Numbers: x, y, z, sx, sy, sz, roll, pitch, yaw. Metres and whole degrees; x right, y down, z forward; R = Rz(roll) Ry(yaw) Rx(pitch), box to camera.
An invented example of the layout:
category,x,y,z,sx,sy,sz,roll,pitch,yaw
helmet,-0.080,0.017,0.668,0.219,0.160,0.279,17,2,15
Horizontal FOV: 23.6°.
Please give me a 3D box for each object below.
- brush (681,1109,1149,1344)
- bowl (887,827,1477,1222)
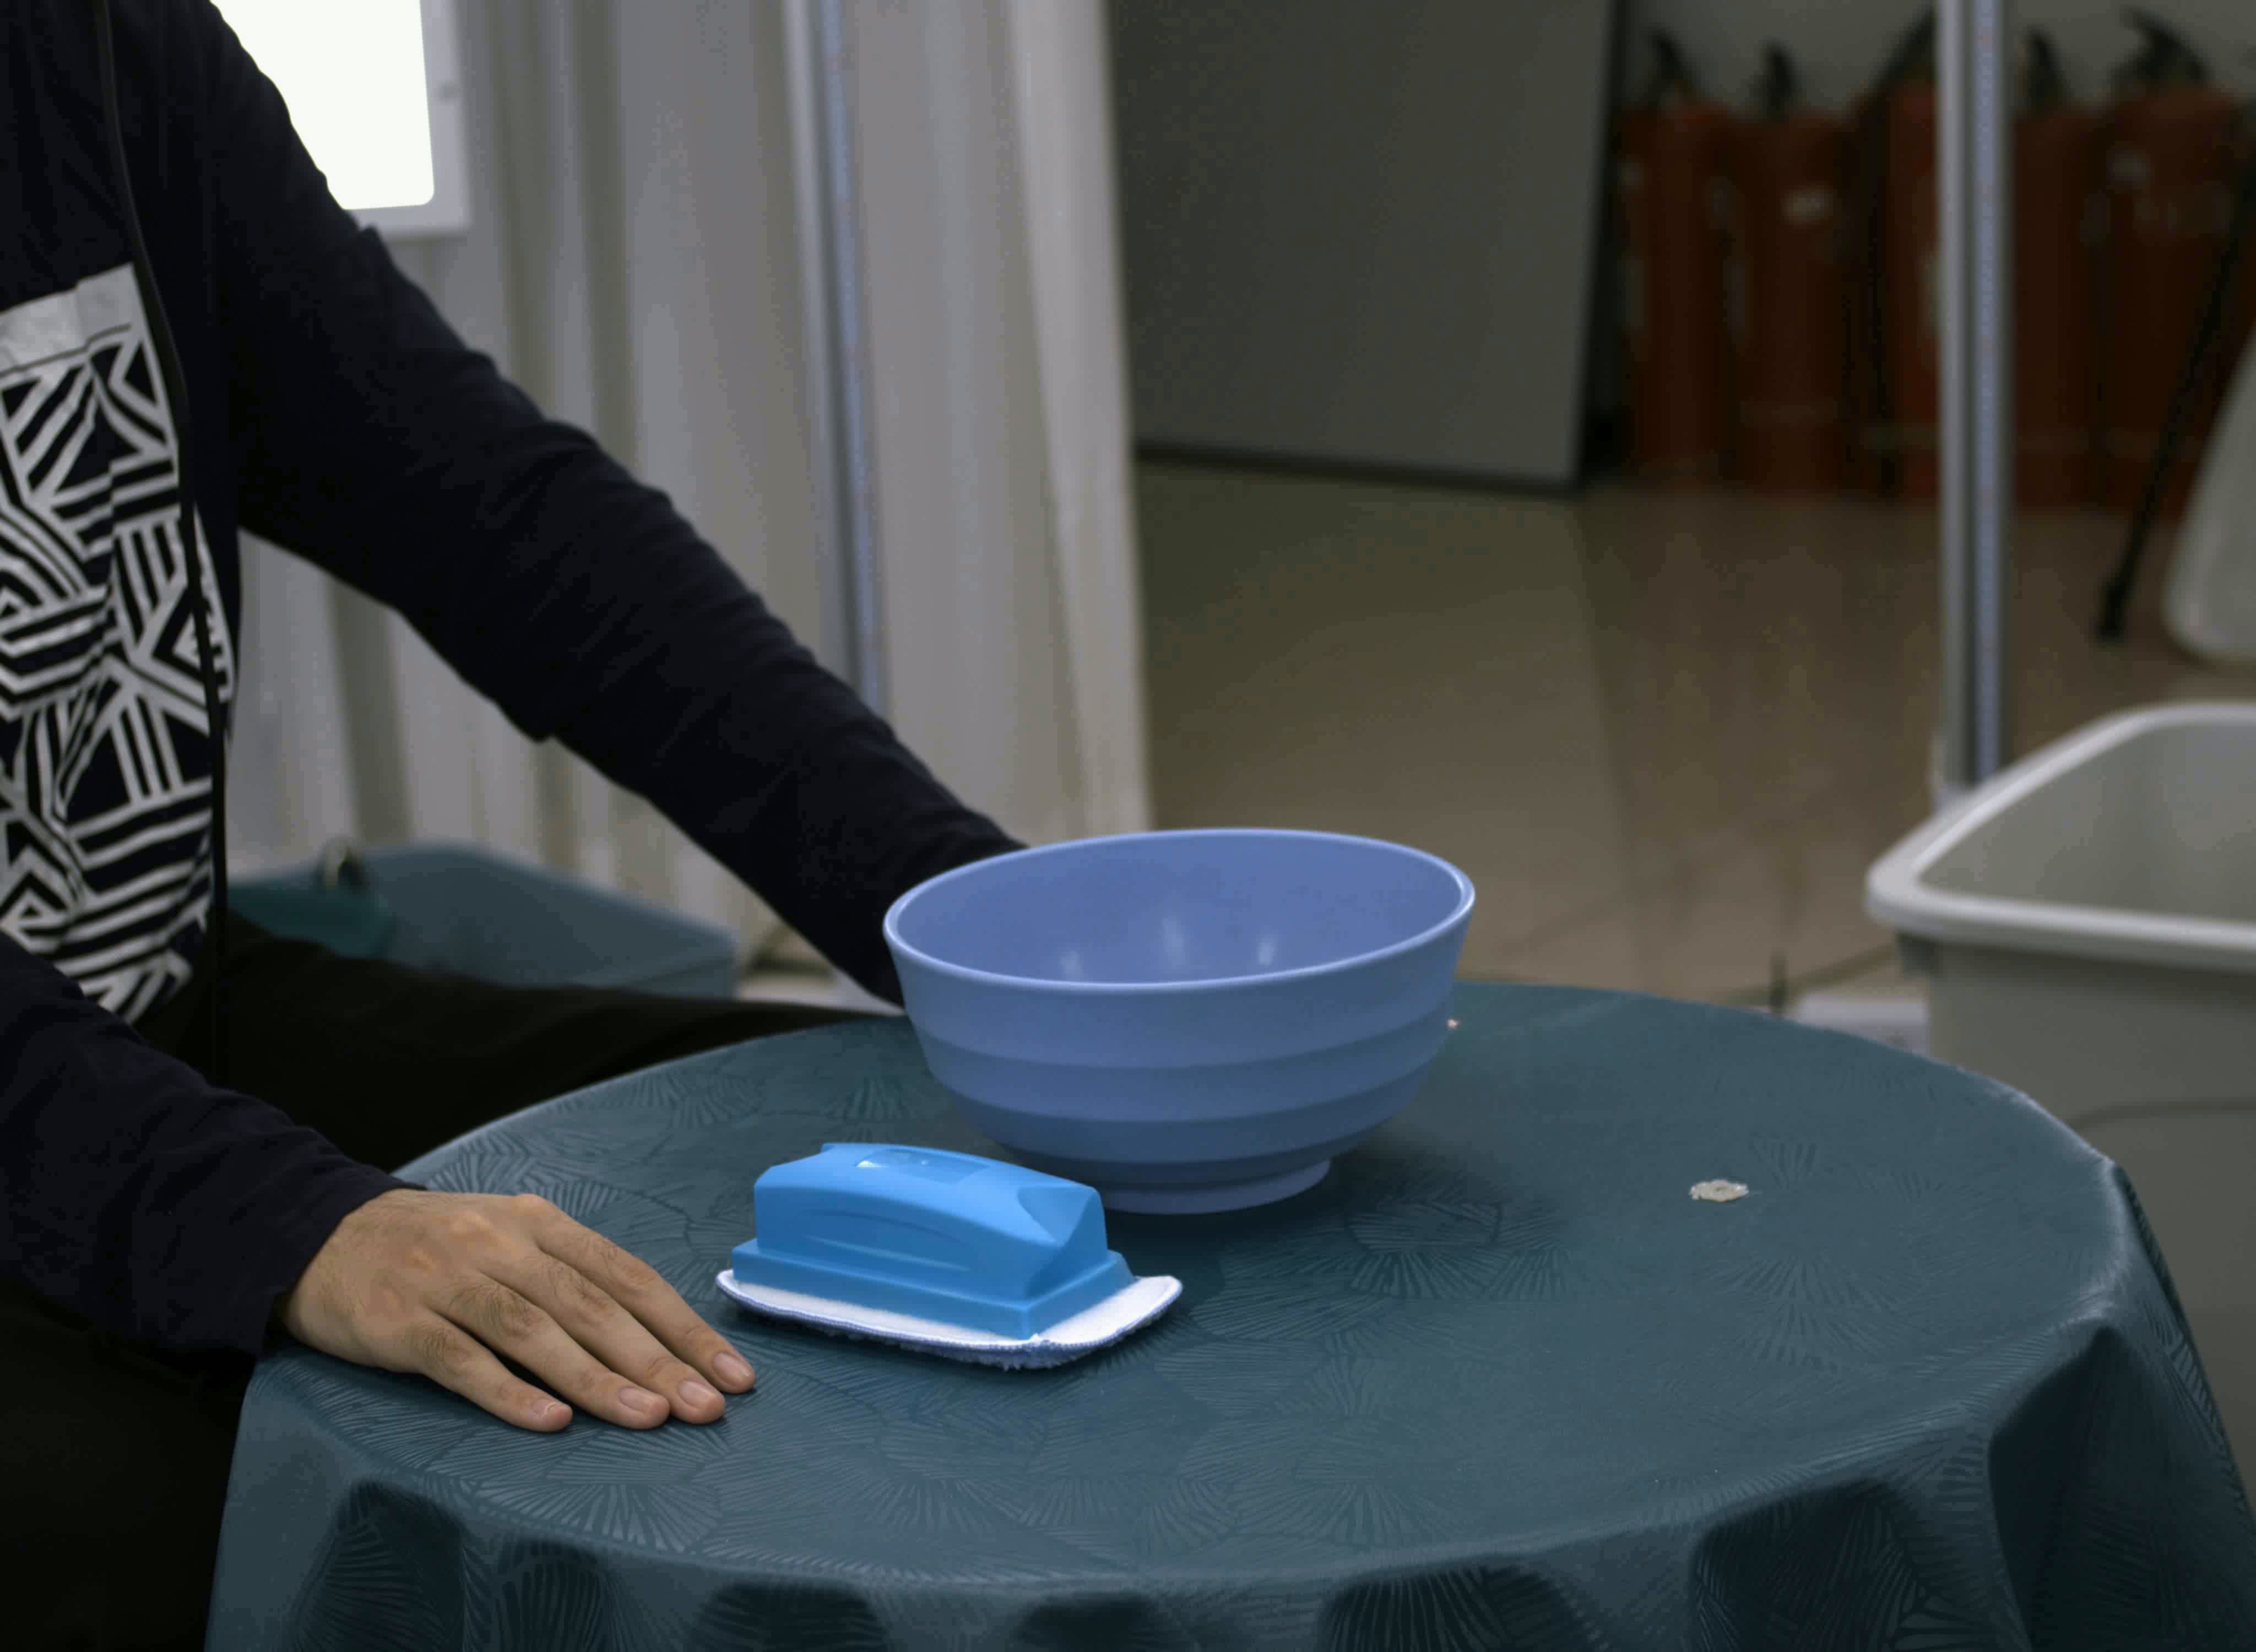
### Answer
category,x,y,z,sx,sy,sz,roll,pitch,yaw
brush,-0.065,0.122,1.660,0.145,0.056,0.082,12,16,39
bowl,0.020,0.071,1.778,0.194,0.096,0.197,-4,14,0
